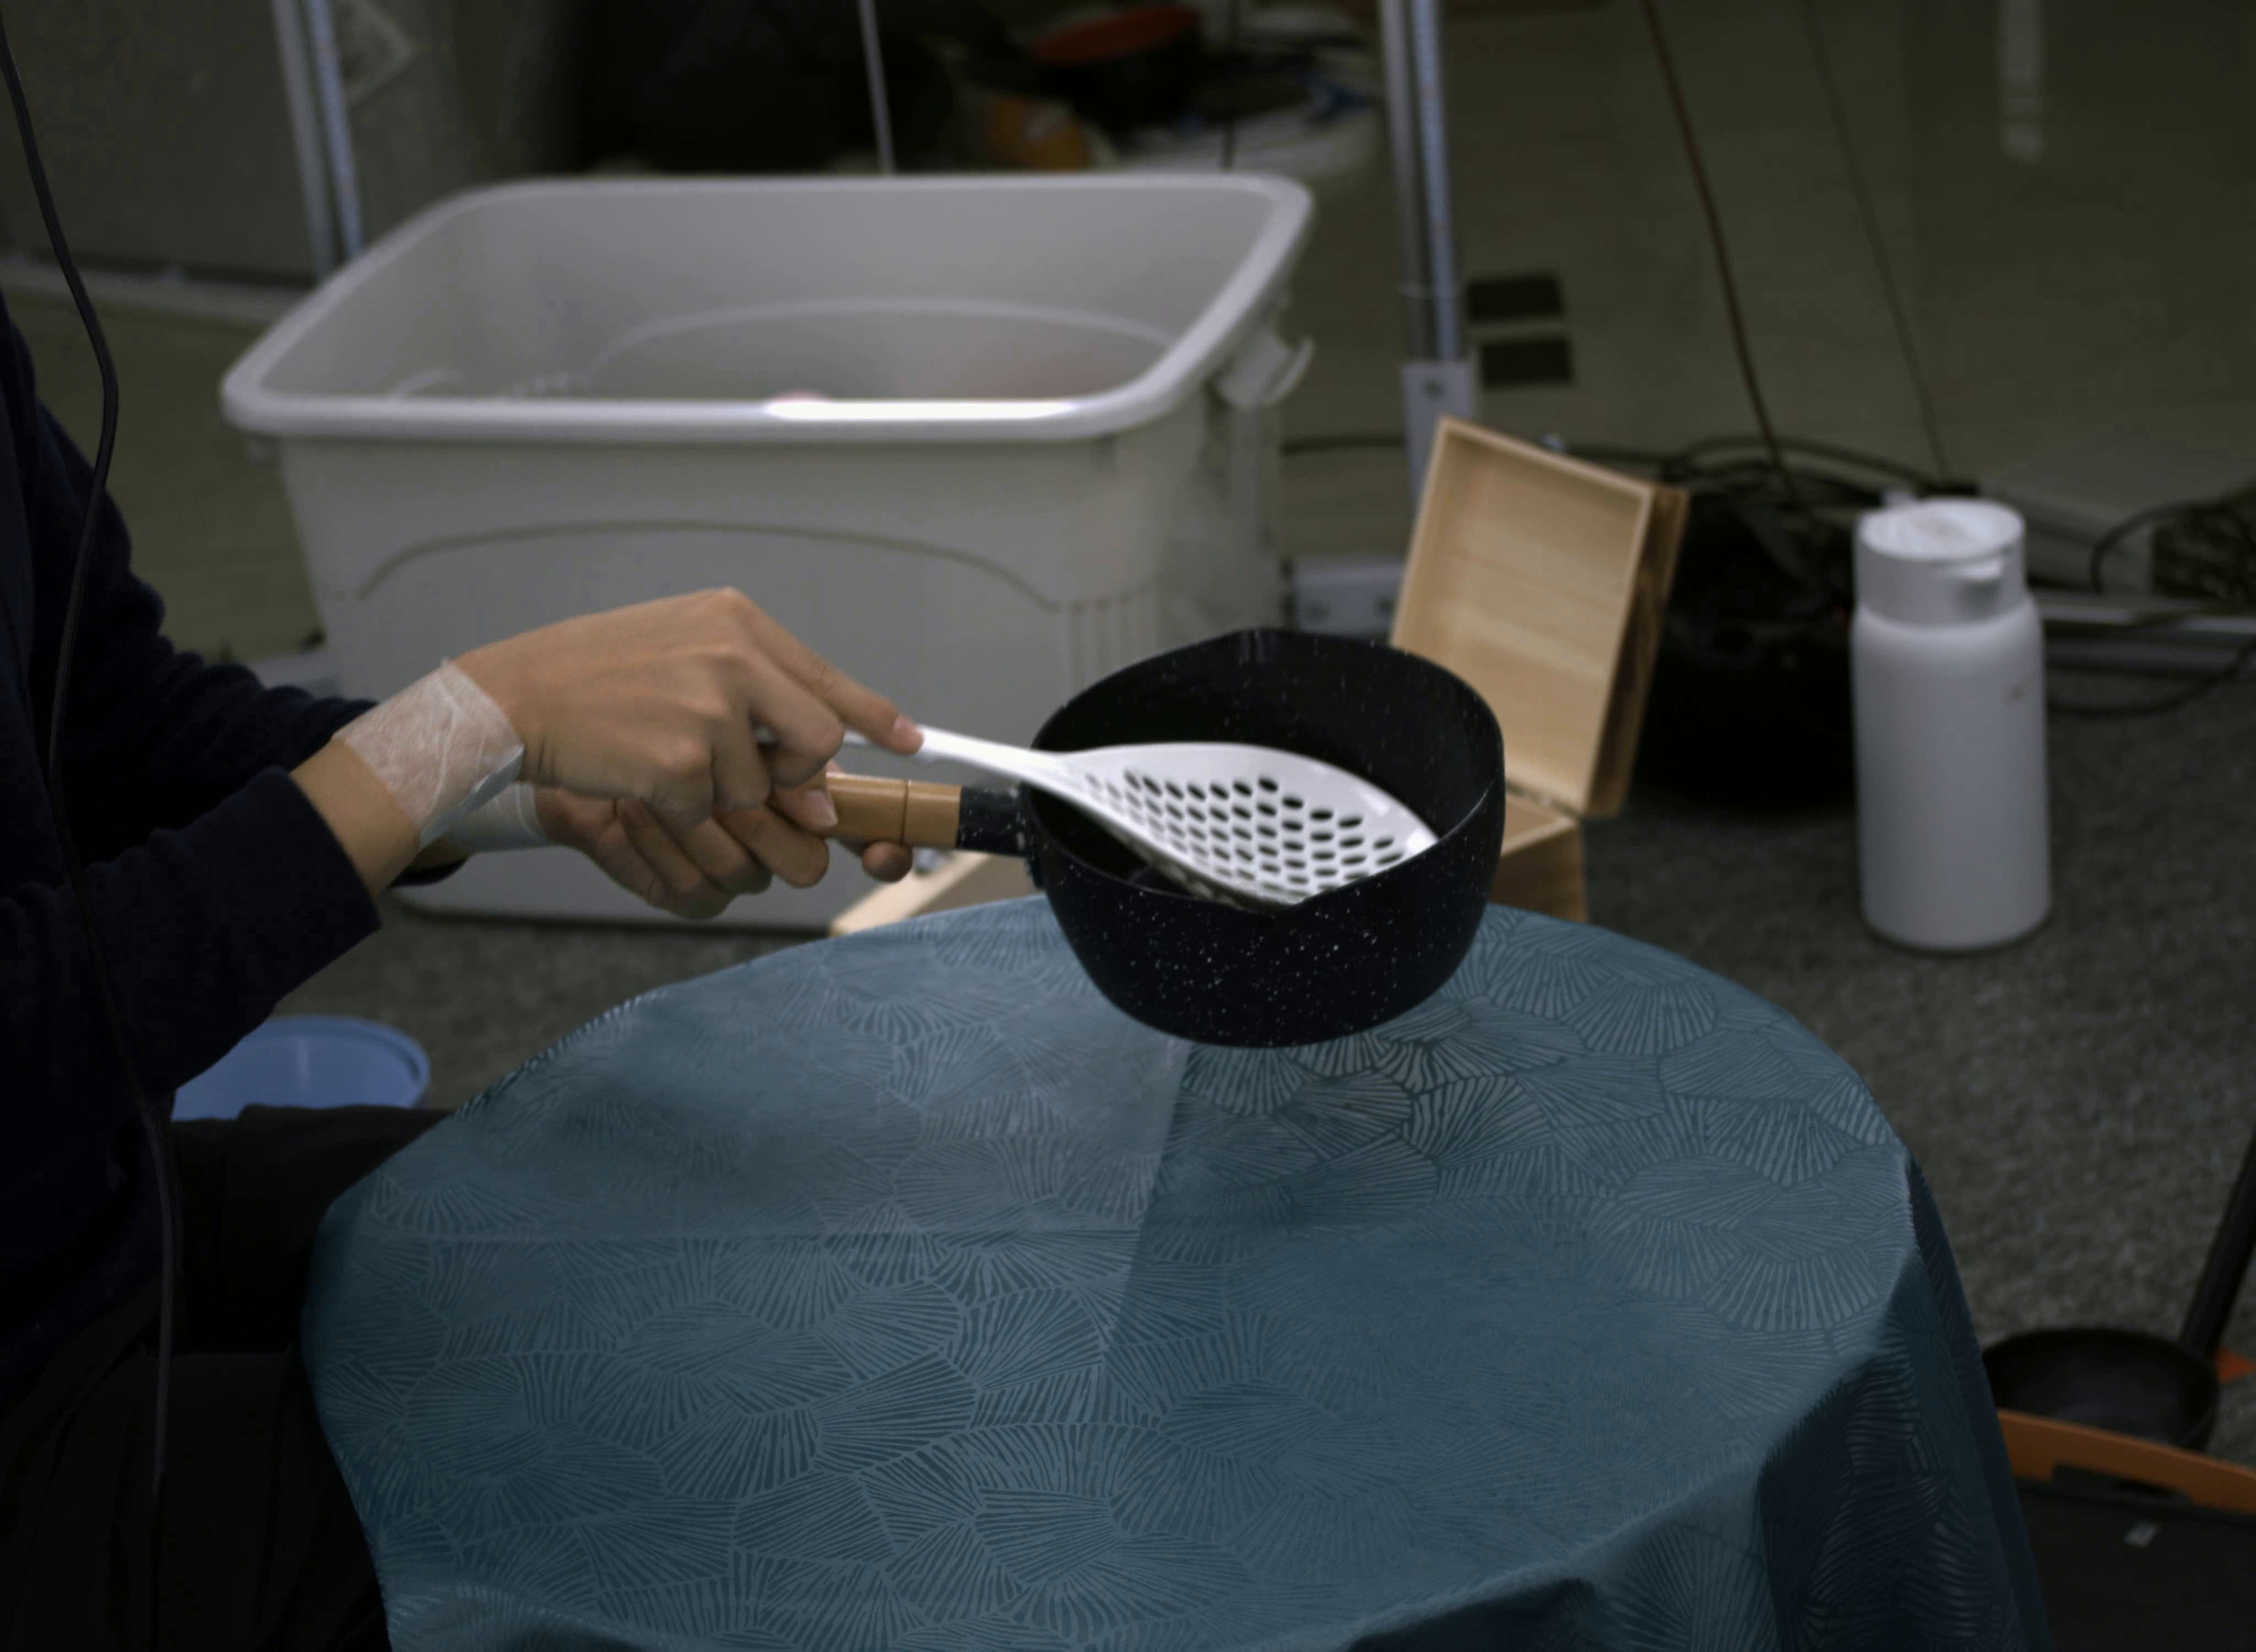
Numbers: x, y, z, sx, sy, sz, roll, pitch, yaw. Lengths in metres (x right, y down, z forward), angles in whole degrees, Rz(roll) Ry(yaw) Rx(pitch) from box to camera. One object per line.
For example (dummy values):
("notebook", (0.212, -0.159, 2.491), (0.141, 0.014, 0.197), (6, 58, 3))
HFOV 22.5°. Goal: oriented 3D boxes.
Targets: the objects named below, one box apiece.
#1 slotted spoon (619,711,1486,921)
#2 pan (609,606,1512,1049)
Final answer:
("slotted spoon", (-0.027, -0.013, 2.130), (0.349, 0.051, 0.134), (16, 26, -27))
("pan", (-0.024, 0.005, 2.166), (0.342, 0.110, 0.204), (-4, 36, 1))
